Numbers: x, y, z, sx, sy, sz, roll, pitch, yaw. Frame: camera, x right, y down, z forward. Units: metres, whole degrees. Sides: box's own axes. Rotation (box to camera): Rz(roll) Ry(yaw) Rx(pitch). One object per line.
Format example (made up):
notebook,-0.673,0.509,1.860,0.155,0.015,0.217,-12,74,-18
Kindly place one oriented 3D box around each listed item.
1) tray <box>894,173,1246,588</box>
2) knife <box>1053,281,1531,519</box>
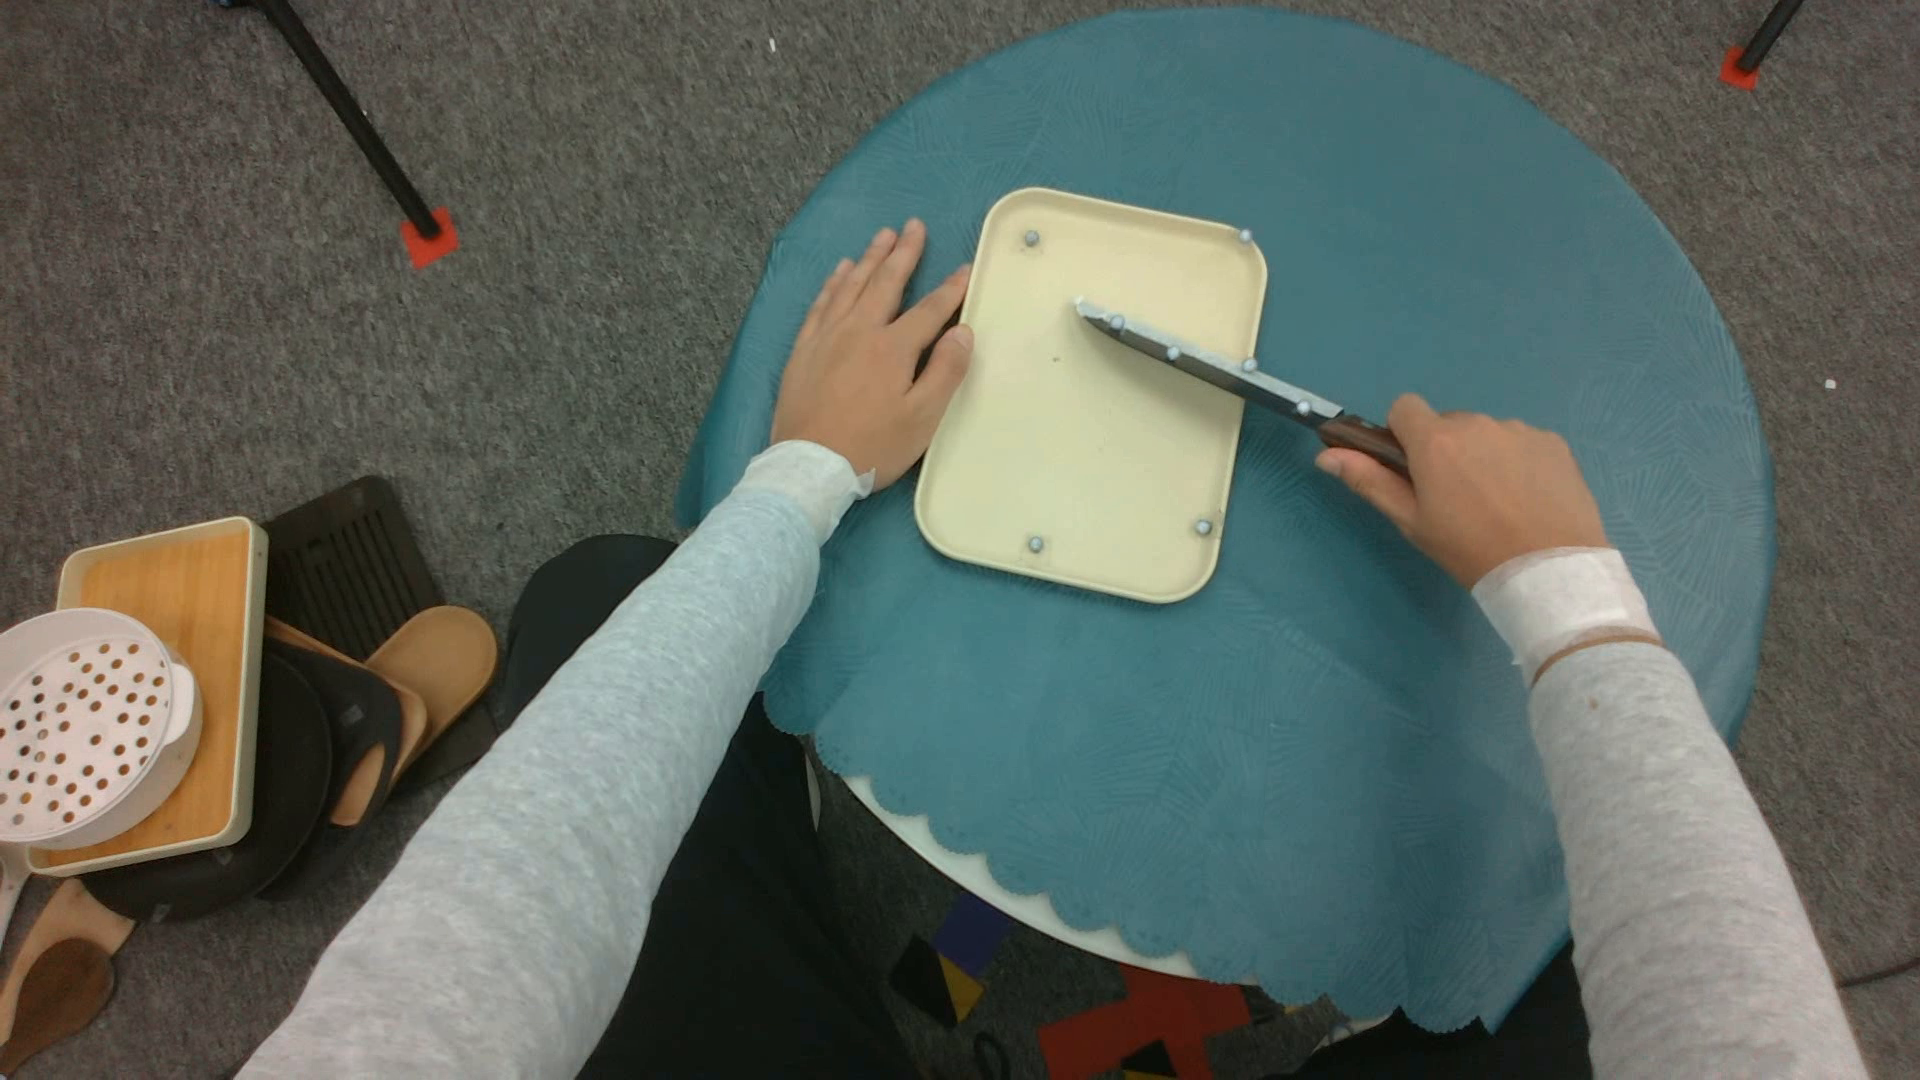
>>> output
tray,0.066,-0.094,0.786,0.171,0.017,0.240,13,71,3
knife,0.174,-0.084,0.757,0.289,0.020,0.050,29,31,18
